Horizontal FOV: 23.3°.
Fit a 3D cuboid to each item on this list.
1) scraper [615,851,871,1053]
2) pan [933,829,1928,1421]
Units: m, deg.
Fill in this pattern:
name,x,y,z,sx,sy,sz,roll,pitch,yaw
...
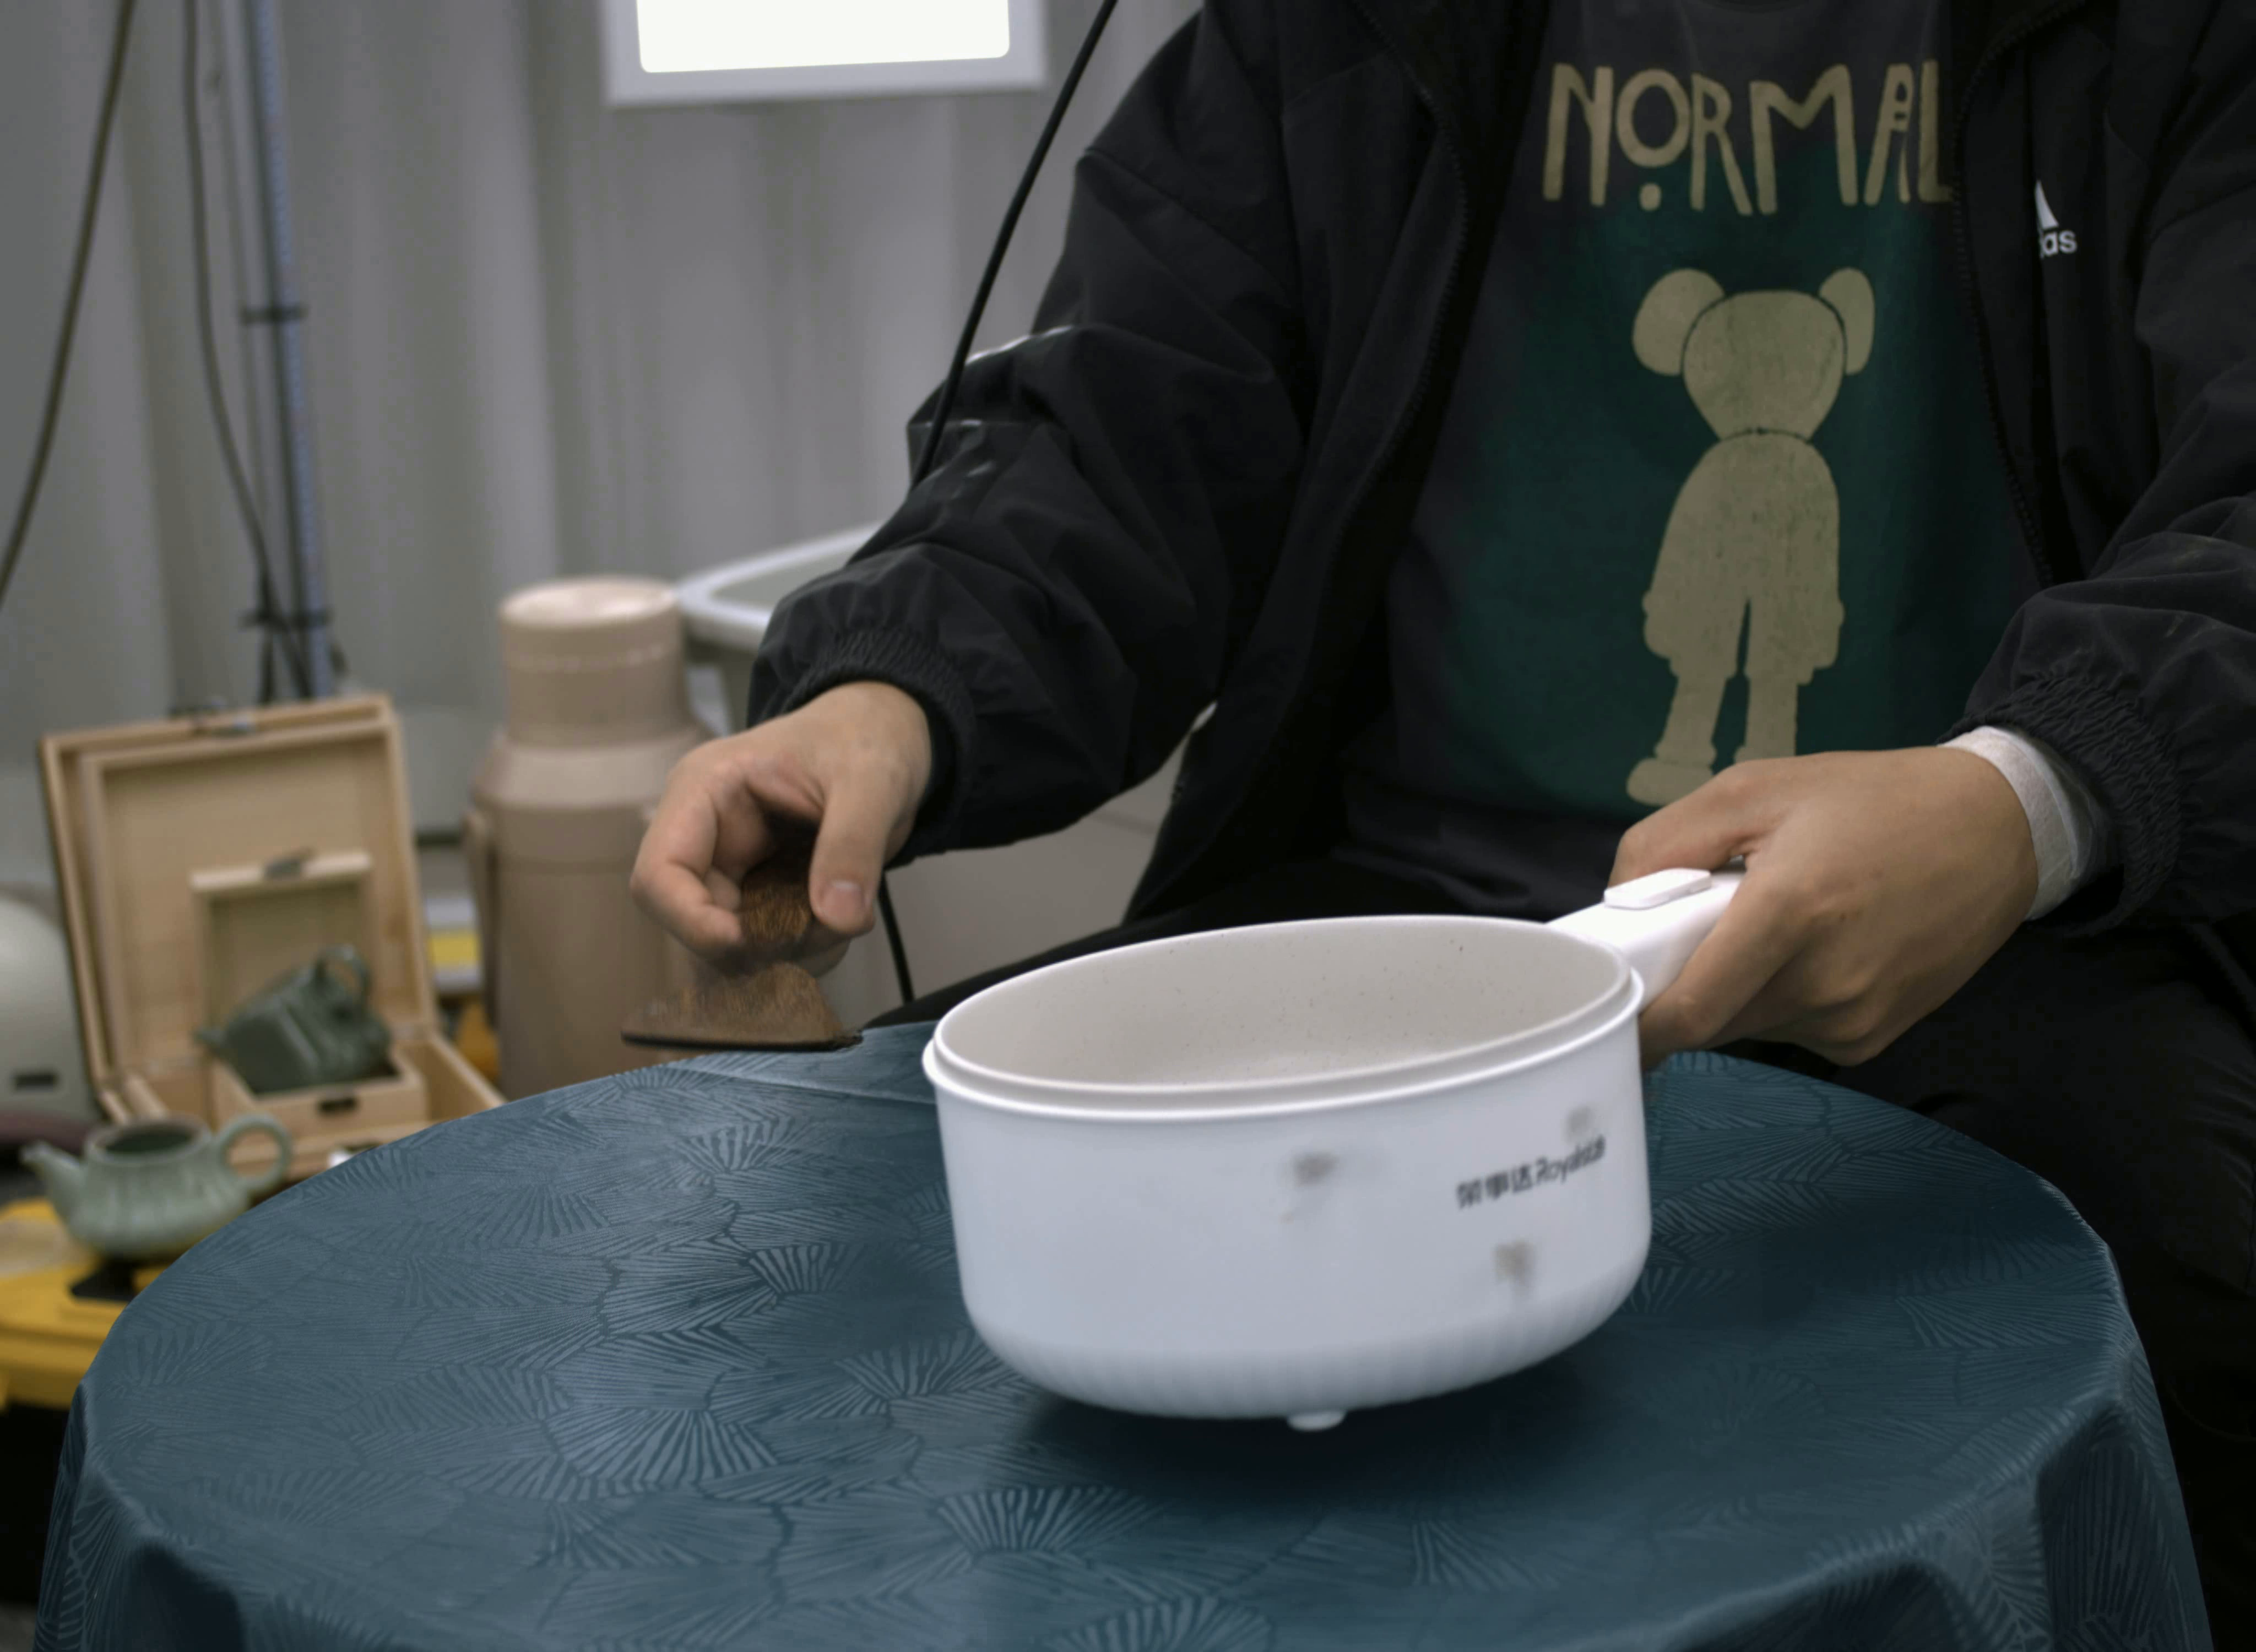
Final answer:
name,x,y,z,sx,sy,sz,roll,pitch,yaw
scraper,-0.113,0.038,1.710,0.075,0.011,0.213,5,15,0
pan,0.105,0.081,1.572,0.354,0.102,0.202,-14,13,-42
